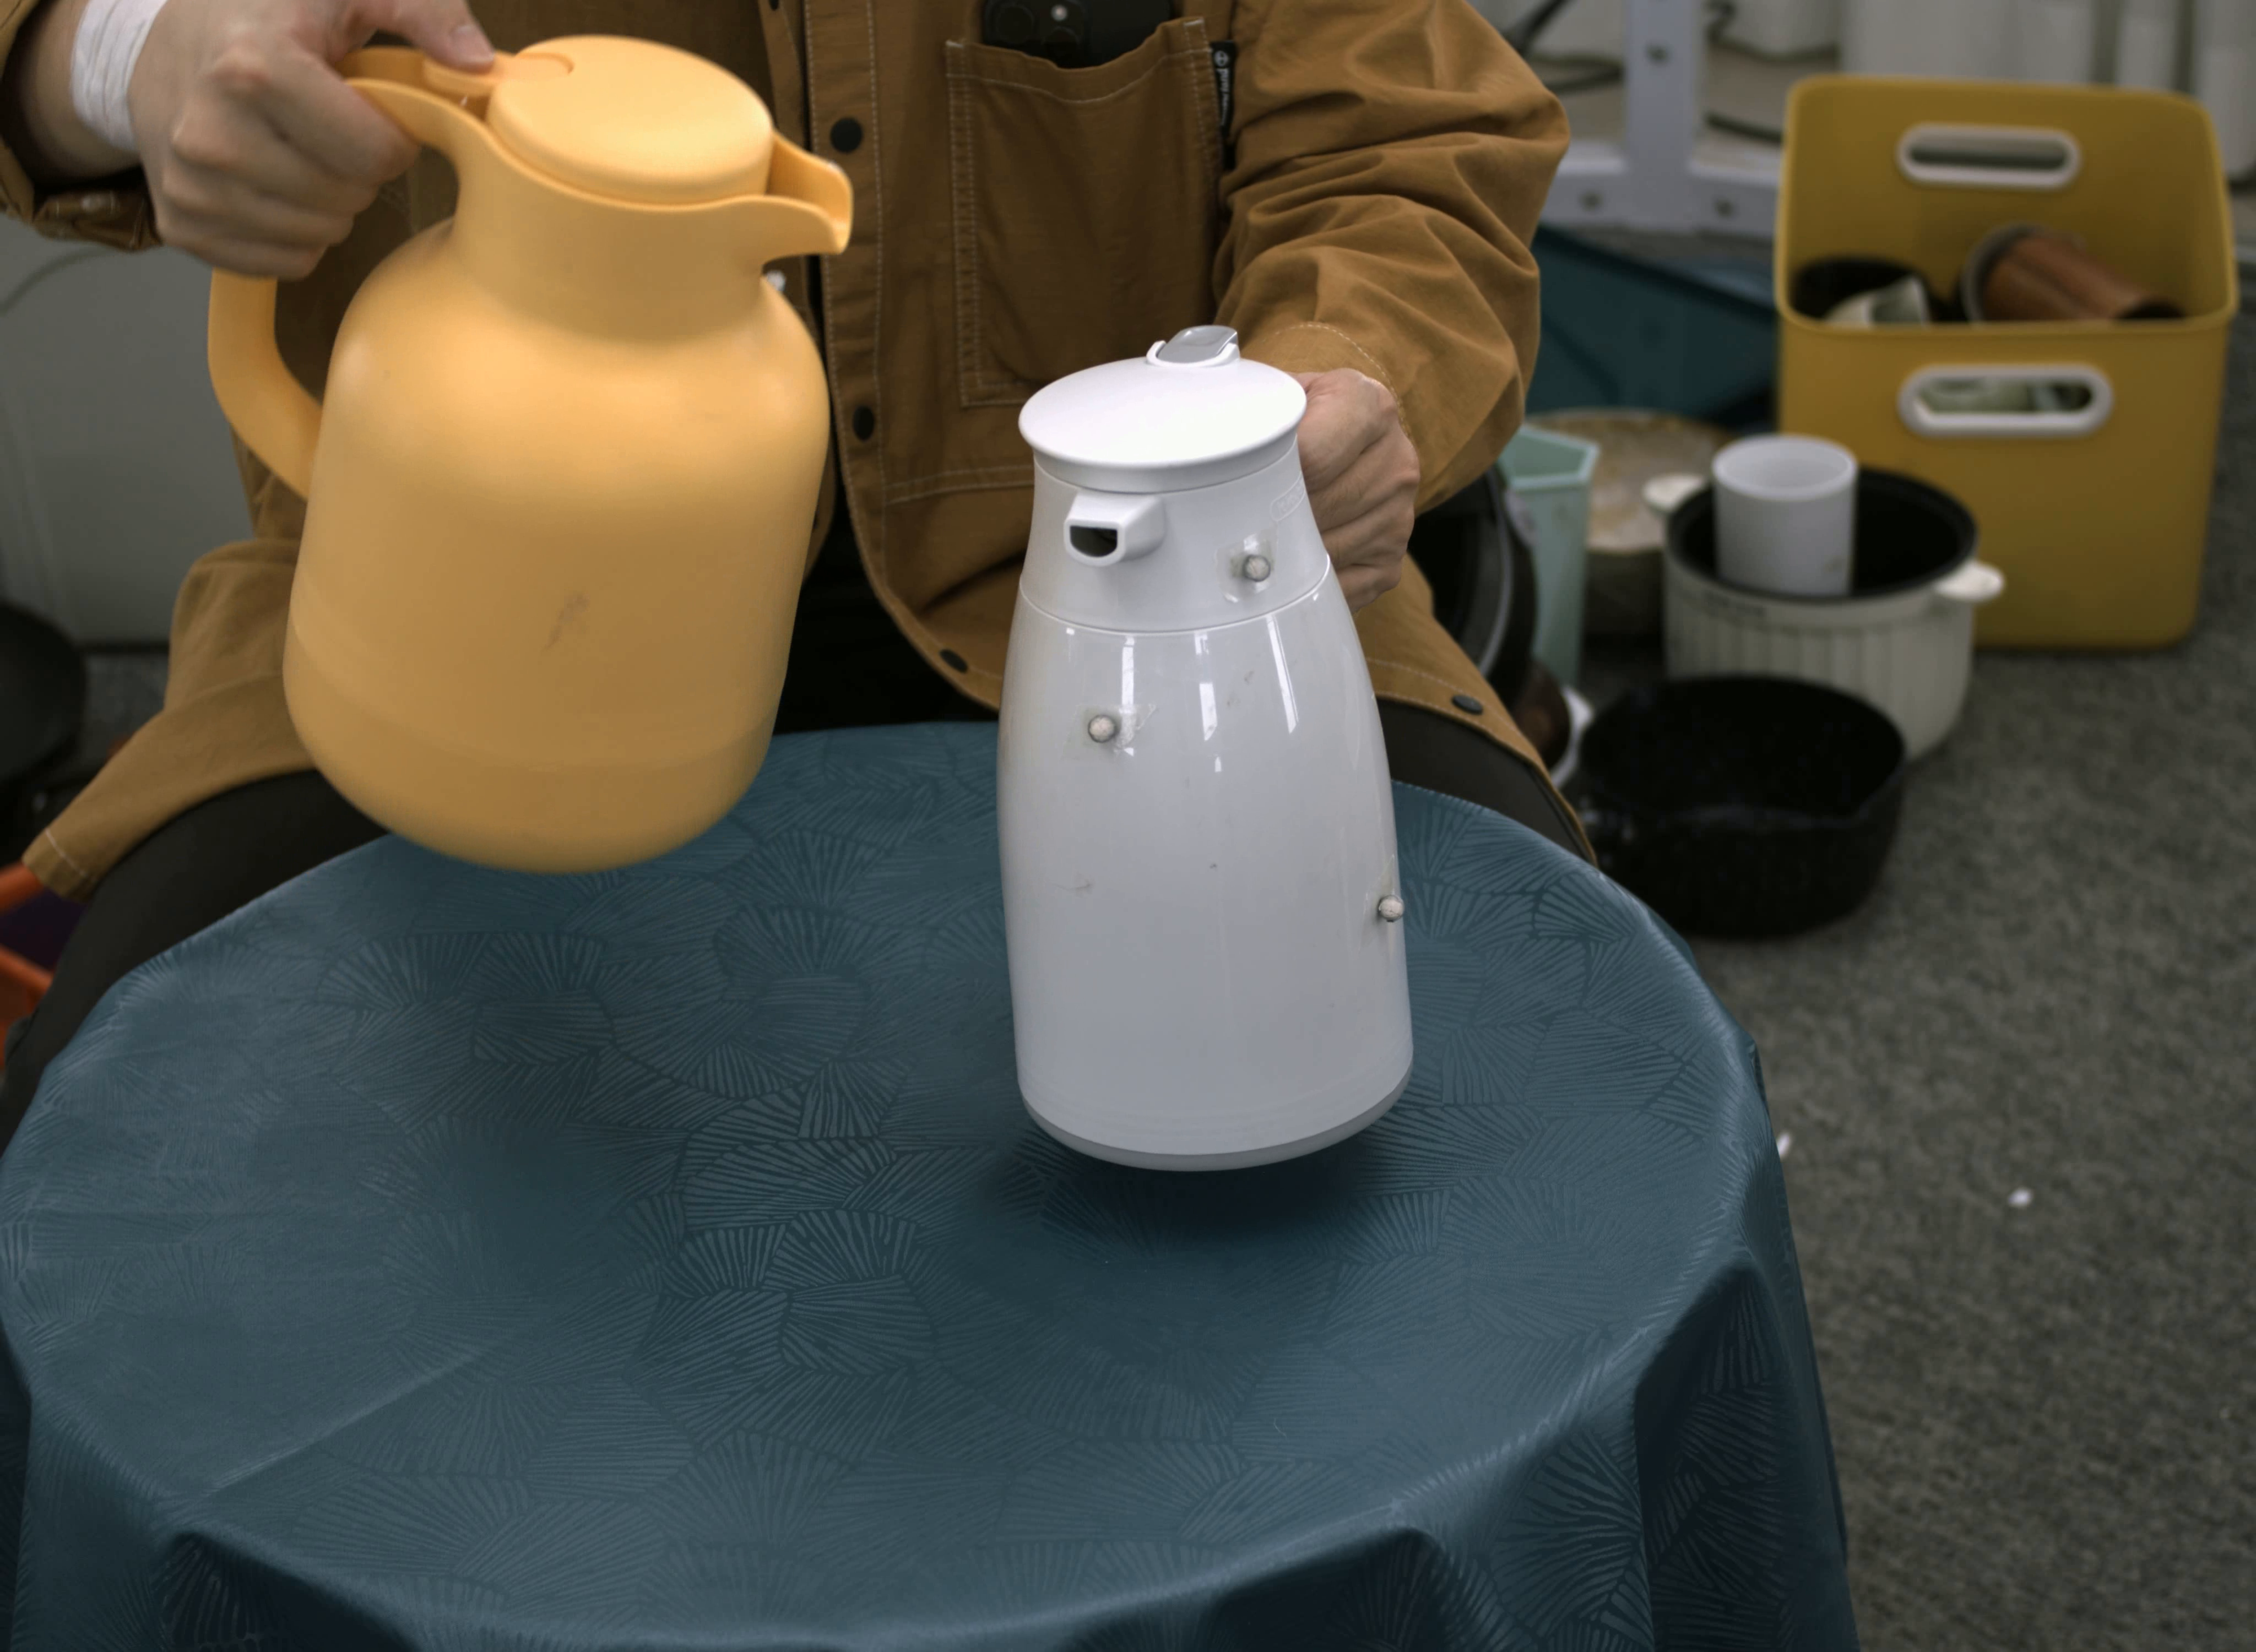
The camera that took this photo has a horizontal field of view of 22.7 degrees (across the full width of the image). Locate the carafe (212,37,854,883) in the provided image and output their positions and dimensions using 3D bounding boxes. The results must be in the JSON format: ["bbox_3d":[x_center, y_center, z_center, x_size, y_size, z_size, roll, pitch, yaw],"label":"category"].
[{"bbox_3d":[-0.196,-0.127,1.804,0.201,0.257,0.166,18,29,5],"label":"carafe"}]

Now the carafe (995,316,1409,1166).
[{"bbox_3d":[0.025,-0.038,1.837,0.131,0.246,0.170,5,25,20],"label":"carafe"}]
